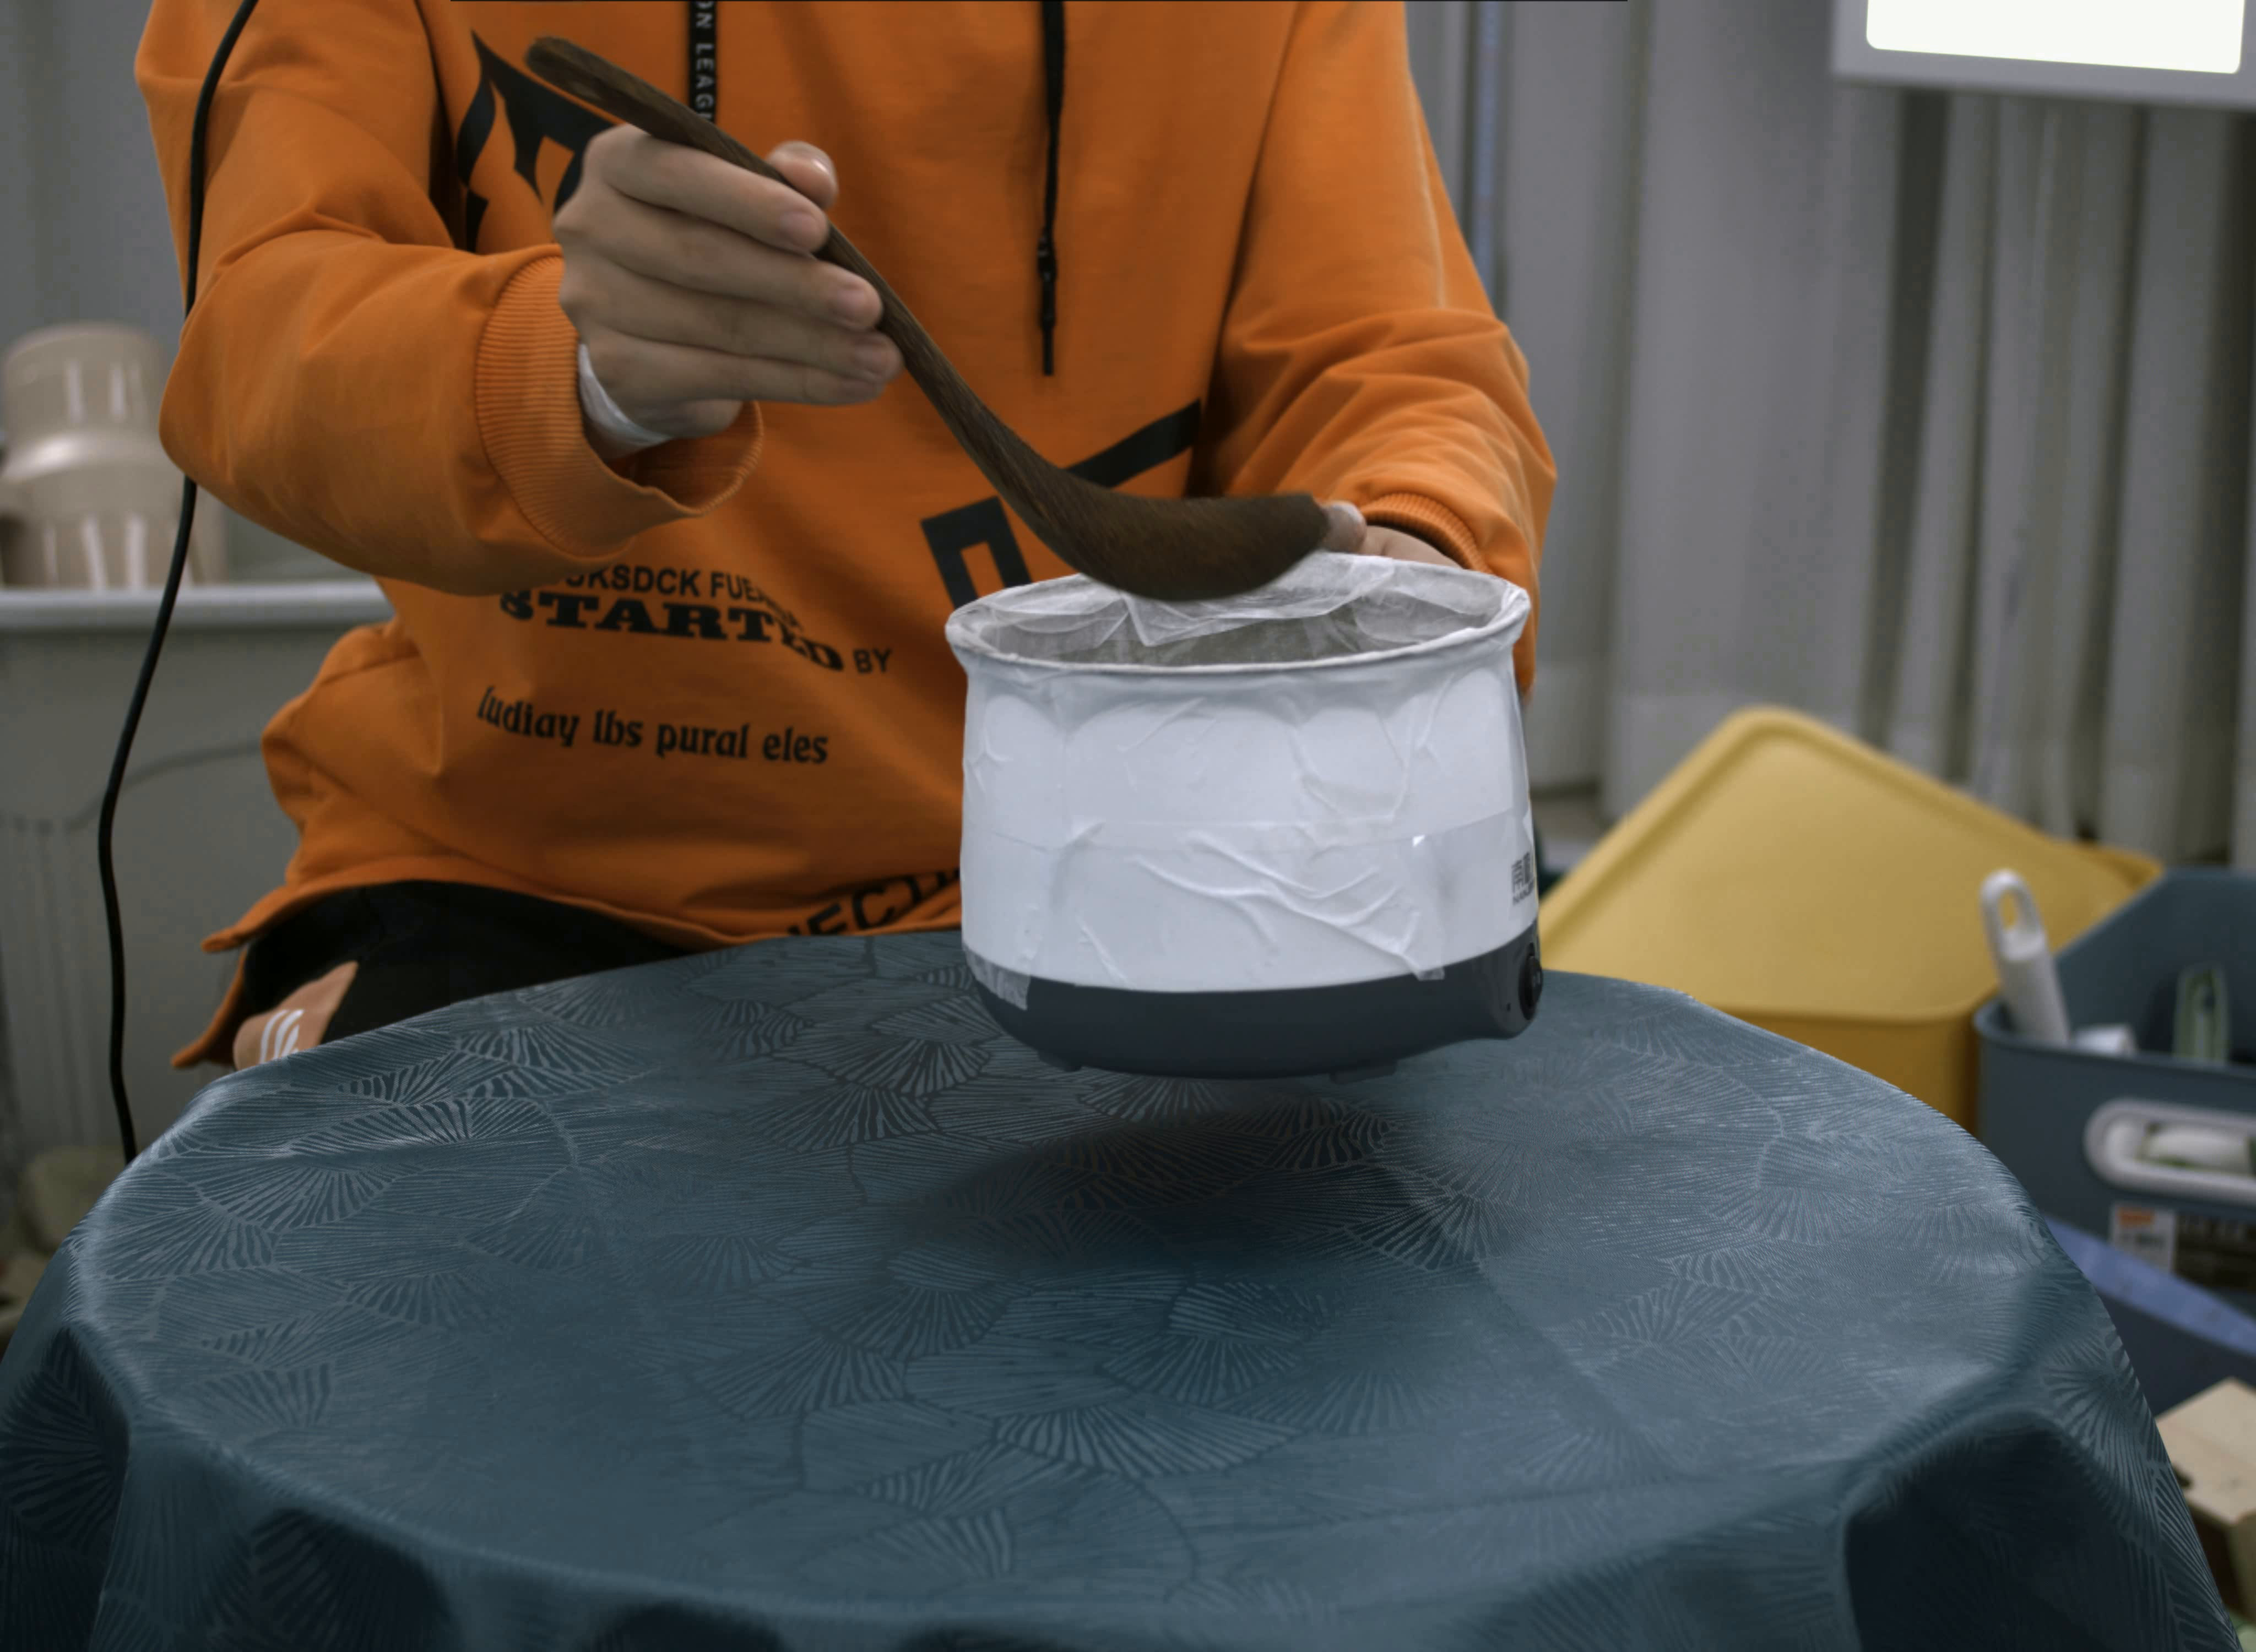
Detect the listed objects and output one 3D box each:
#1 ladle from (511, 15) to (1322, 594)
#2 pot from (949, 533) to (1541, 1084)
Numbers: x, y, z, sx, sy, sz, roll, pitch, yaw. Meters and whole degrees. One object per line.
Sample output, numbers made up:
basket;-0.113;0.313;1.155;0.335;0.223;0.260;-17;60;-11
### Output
ladle;-0.059;-0.166;1.569;0.071;0.275;0.076;-49;5;-18
pot;0.044;-0.010;1.624;0.177;0.137;0.234;2;14;16
